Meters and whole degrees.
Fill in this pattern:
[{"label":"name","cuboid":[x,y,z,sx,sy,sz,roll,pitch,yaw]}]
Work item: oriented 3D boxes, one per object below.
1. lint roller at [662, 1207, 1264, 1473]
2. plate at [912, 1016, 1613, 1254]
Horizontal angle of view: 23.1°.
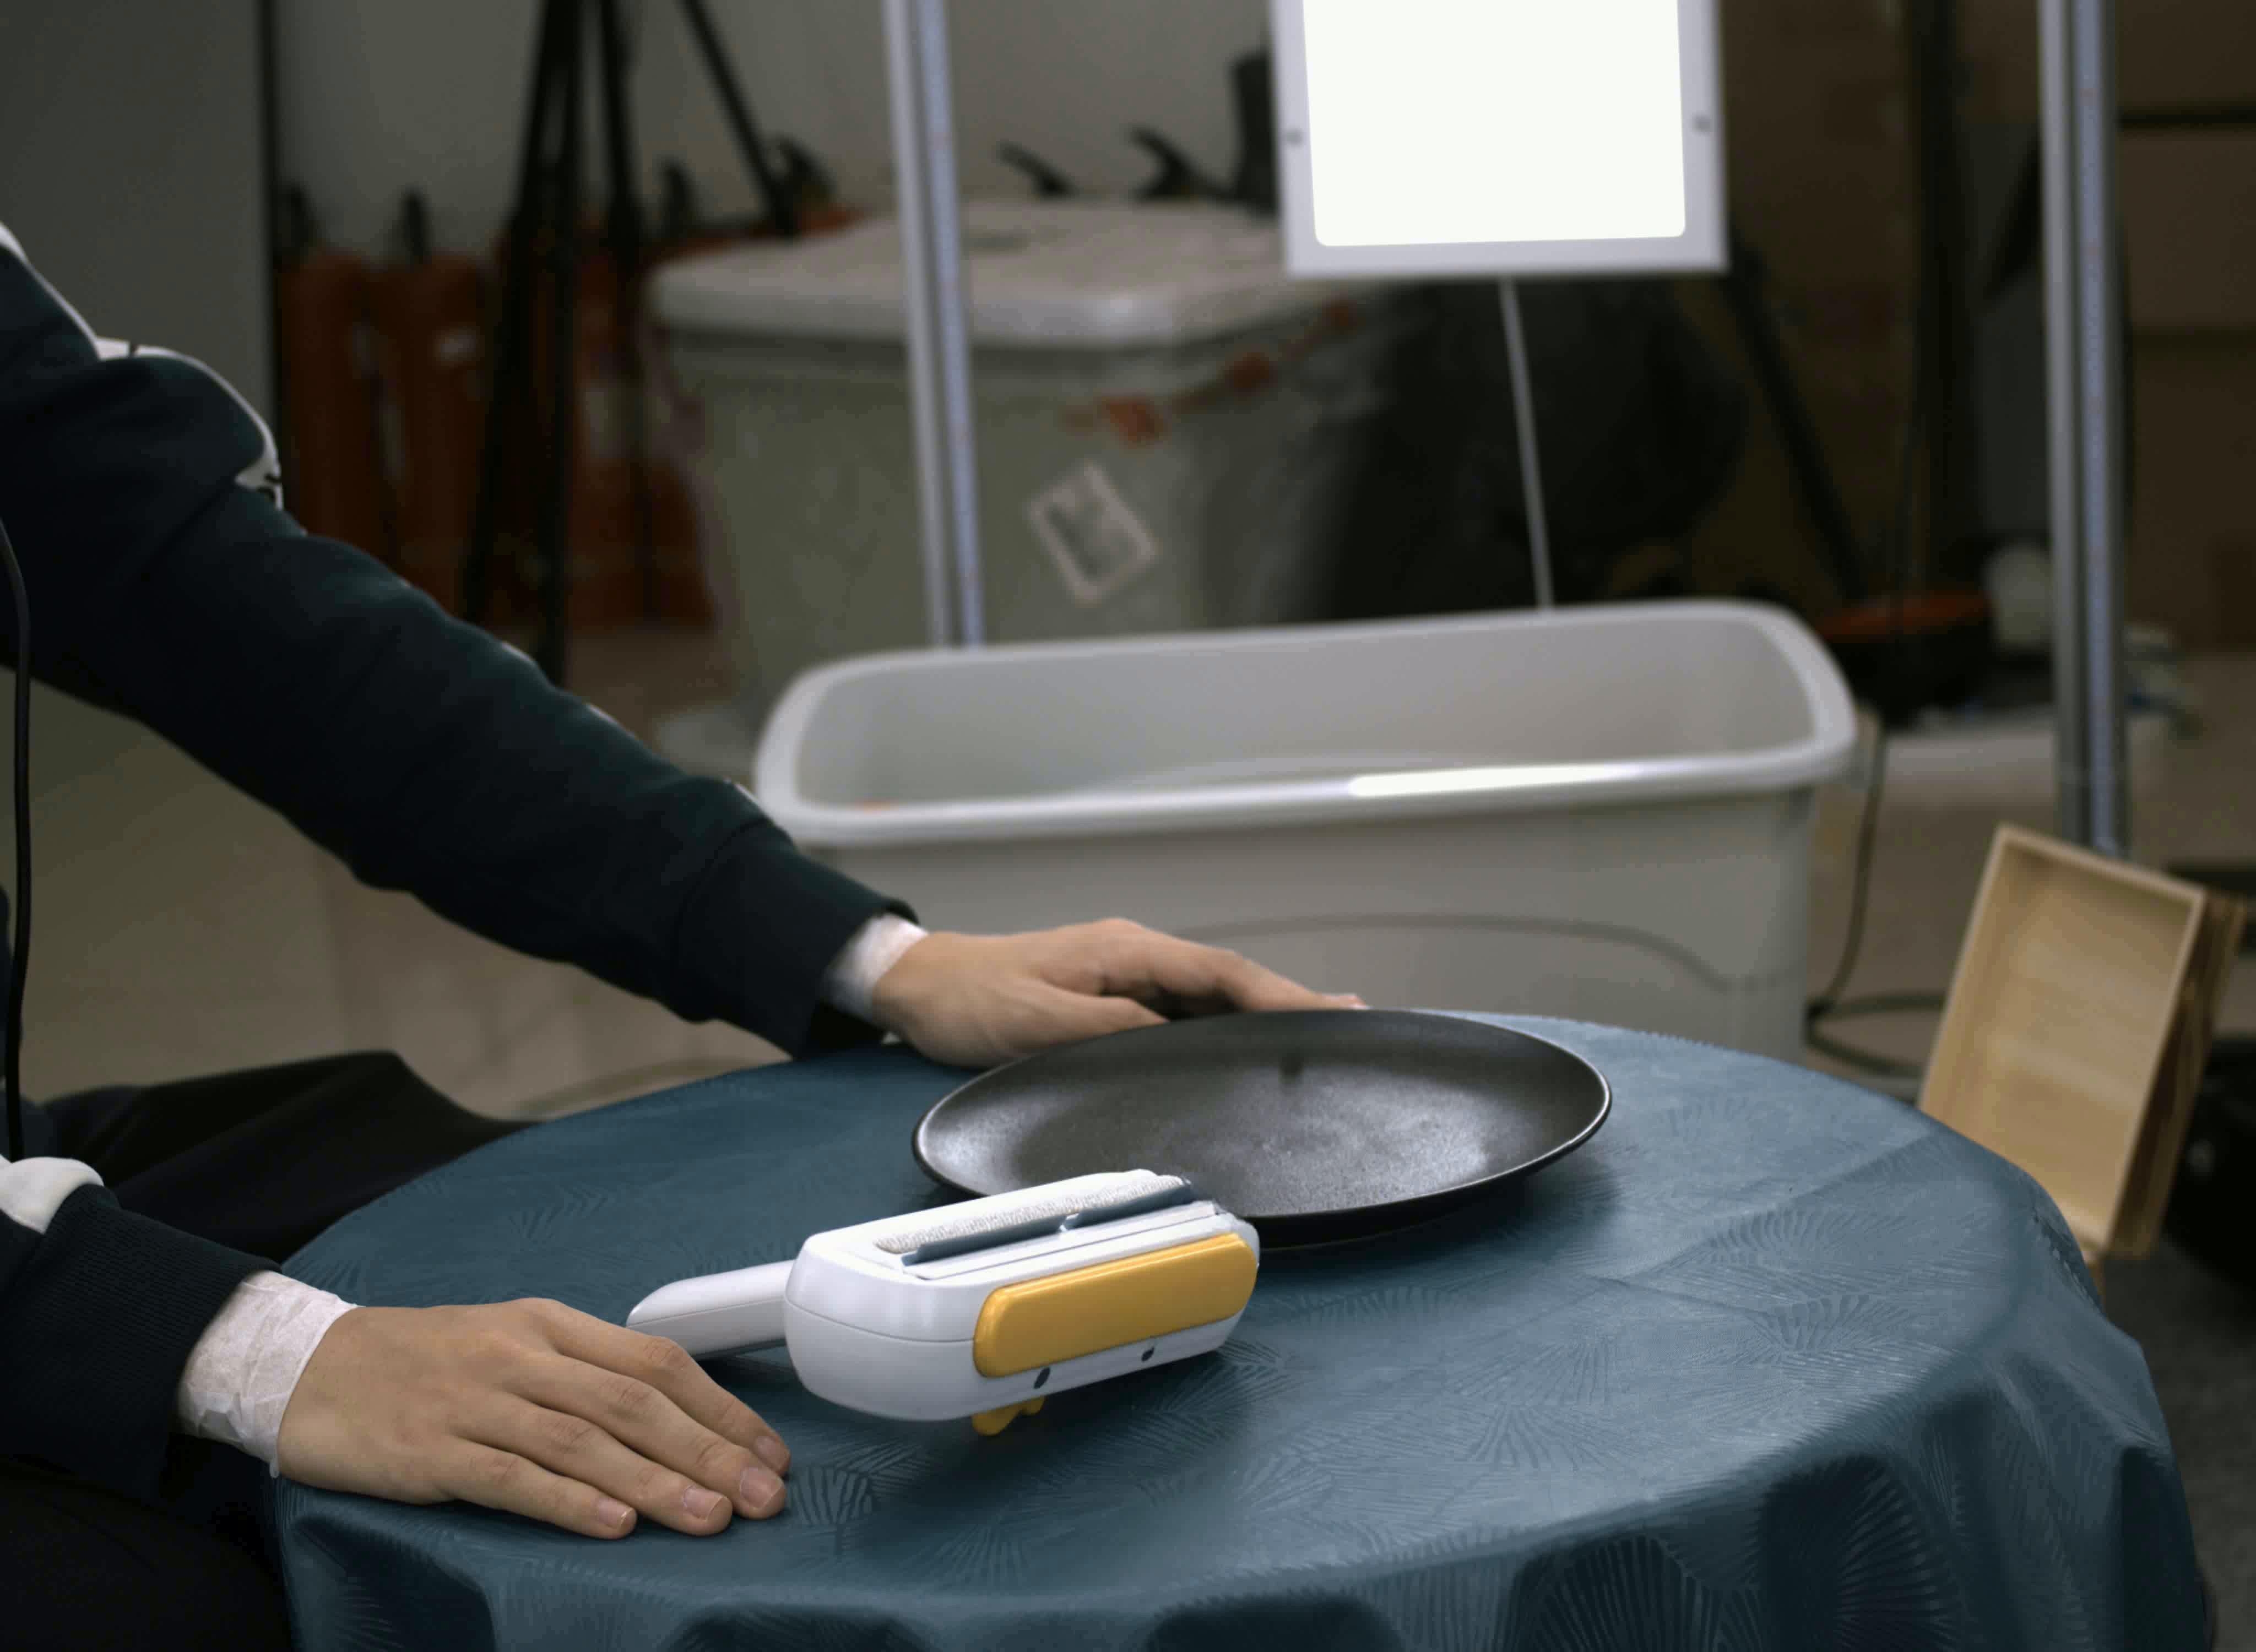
[{"label":"lint roller","cuboid":[-0.076,0.164,1.707,0.197,0.074,0.188,-12,-1,42]},{"label":"plate","cuboid":[0.047,0.109,1.902,0.244,0.023,0.244,-5,14,0]}]
